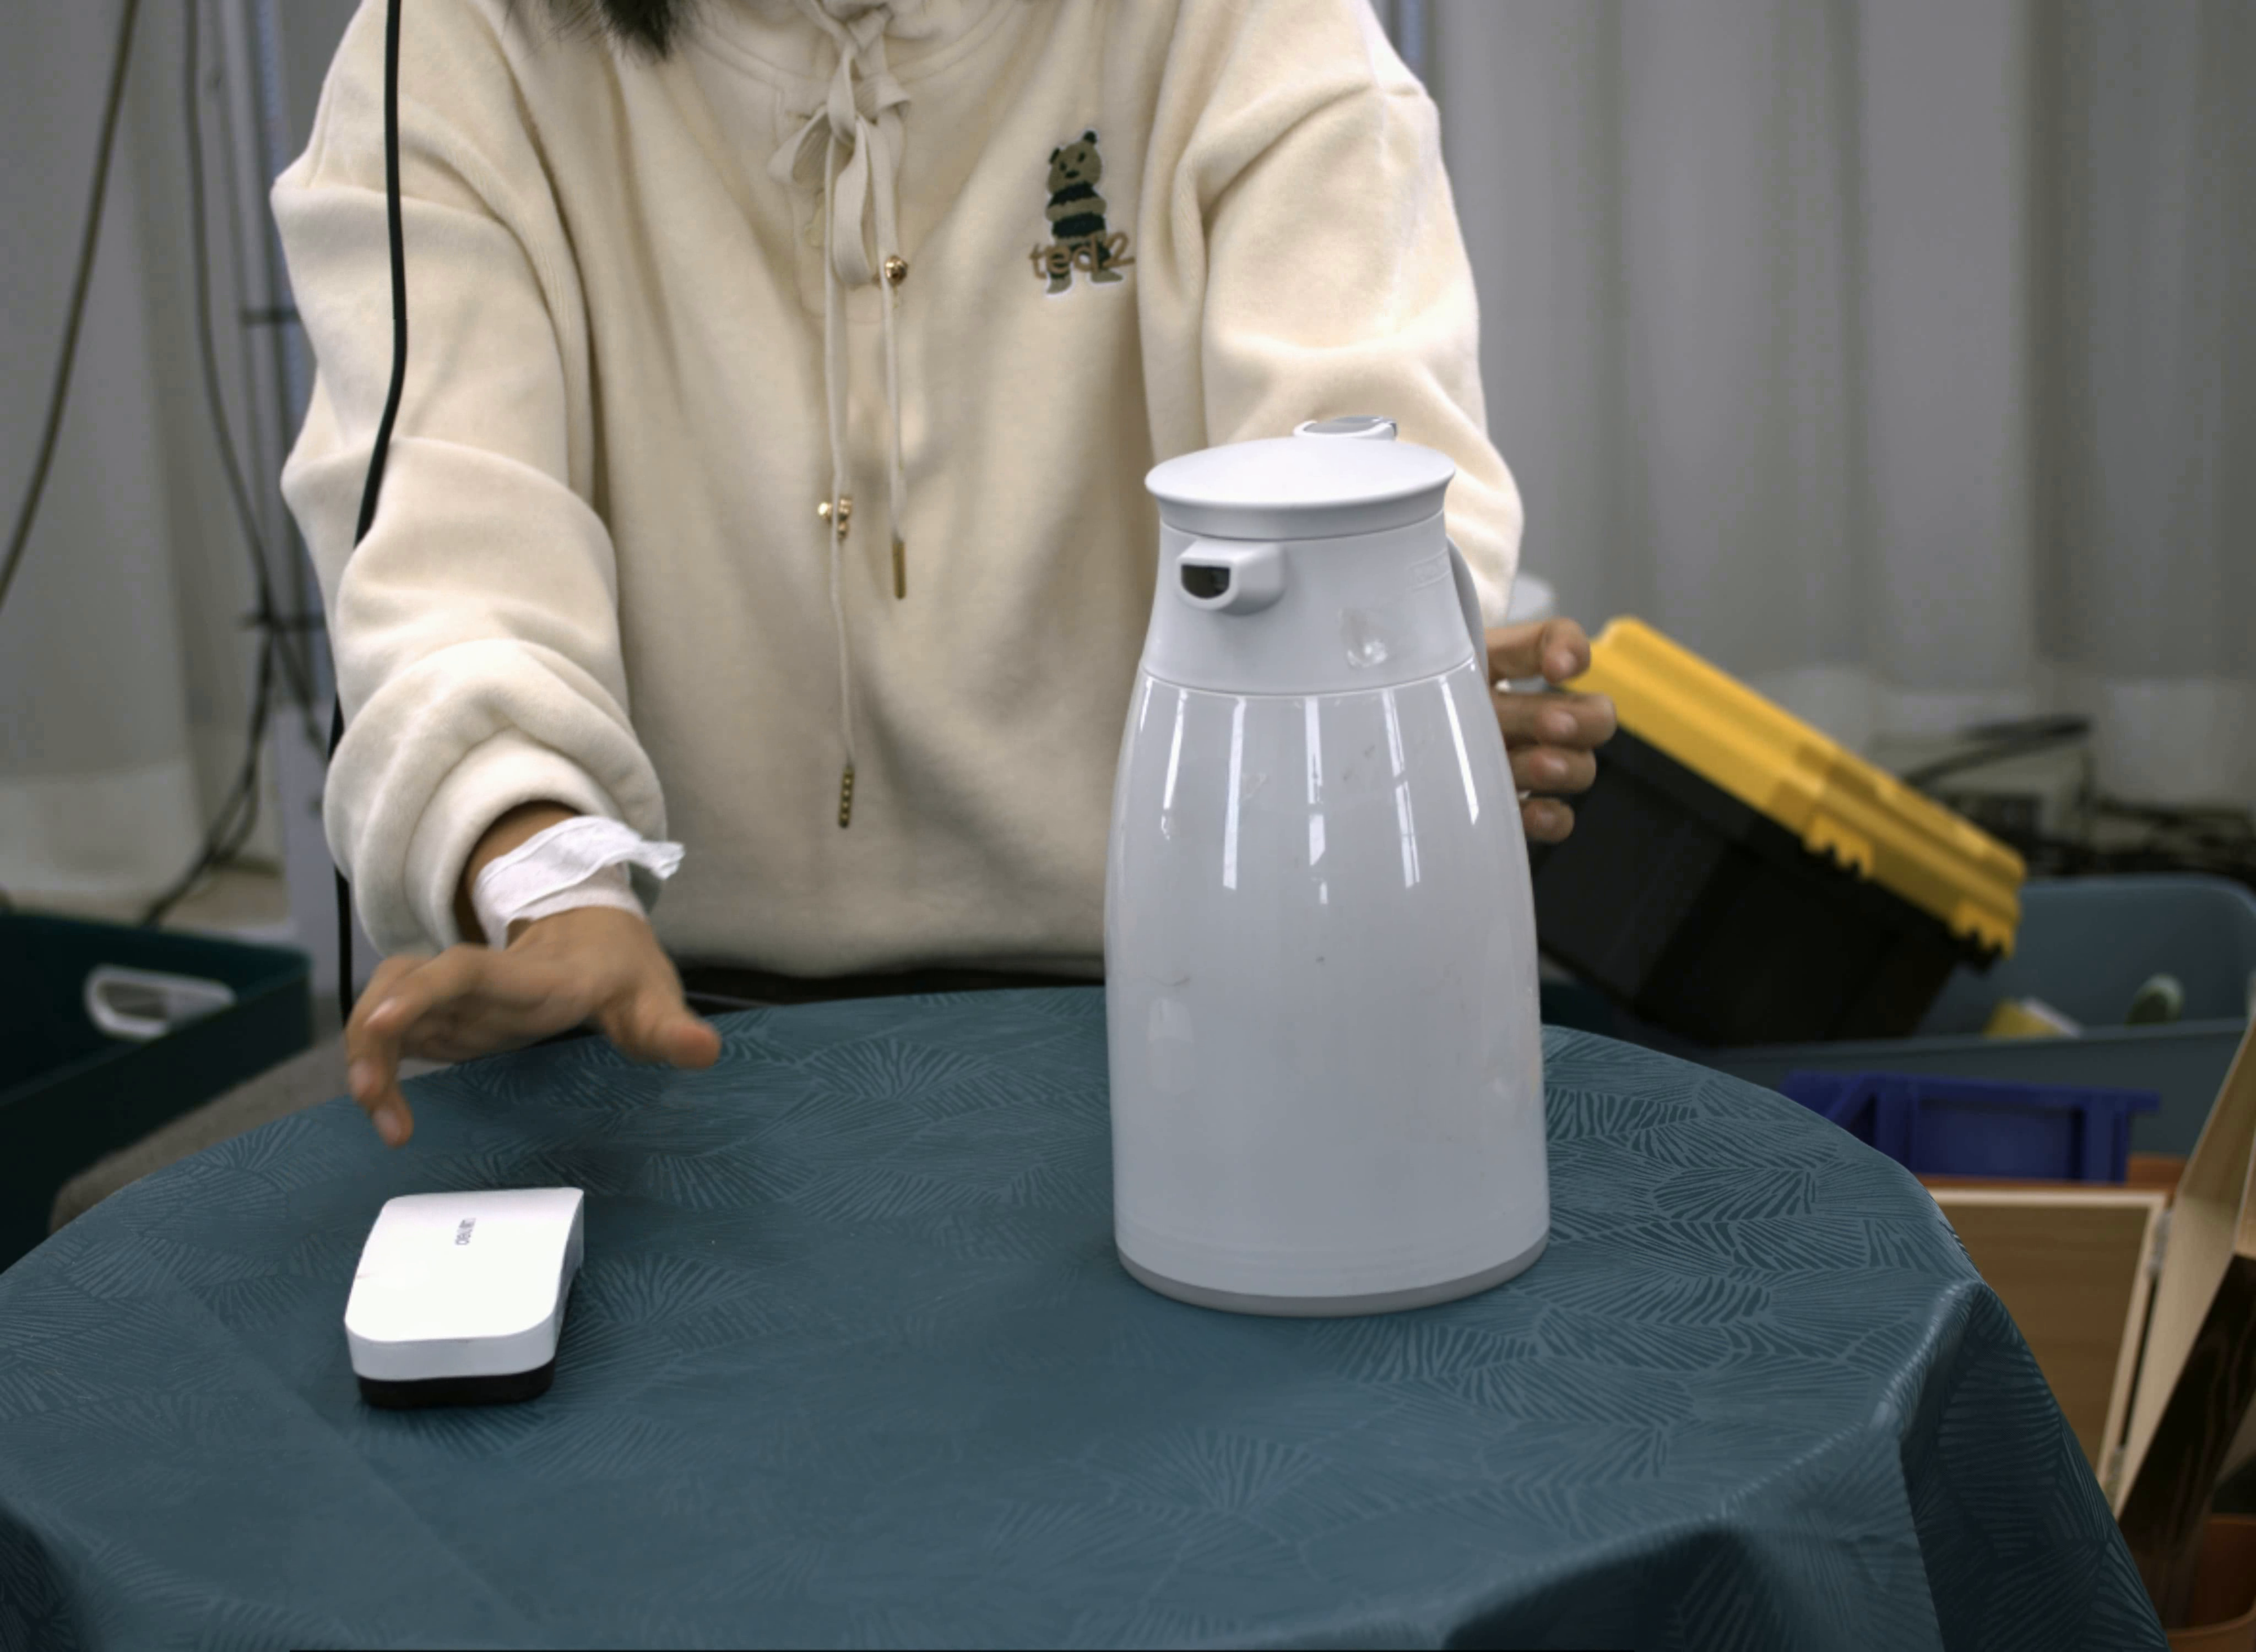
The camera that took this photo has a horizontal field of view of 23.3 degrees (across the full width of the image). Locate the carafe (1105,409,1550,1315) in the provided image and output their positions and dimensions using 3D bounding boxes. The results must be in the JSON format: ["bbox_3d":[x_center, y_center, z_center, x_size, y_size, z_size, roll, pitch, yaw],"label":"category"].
[{"bbox_3d":[0.064,0.002,1.644,0.133,0.248,0.168,4,15,27],"label":"carafe"}]

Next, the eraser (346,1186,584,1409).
[{"bbox_3d":[-0.193,0.135,1.615,0.063,0.034,0.132,0,15,0],"label":"eraser"}]
